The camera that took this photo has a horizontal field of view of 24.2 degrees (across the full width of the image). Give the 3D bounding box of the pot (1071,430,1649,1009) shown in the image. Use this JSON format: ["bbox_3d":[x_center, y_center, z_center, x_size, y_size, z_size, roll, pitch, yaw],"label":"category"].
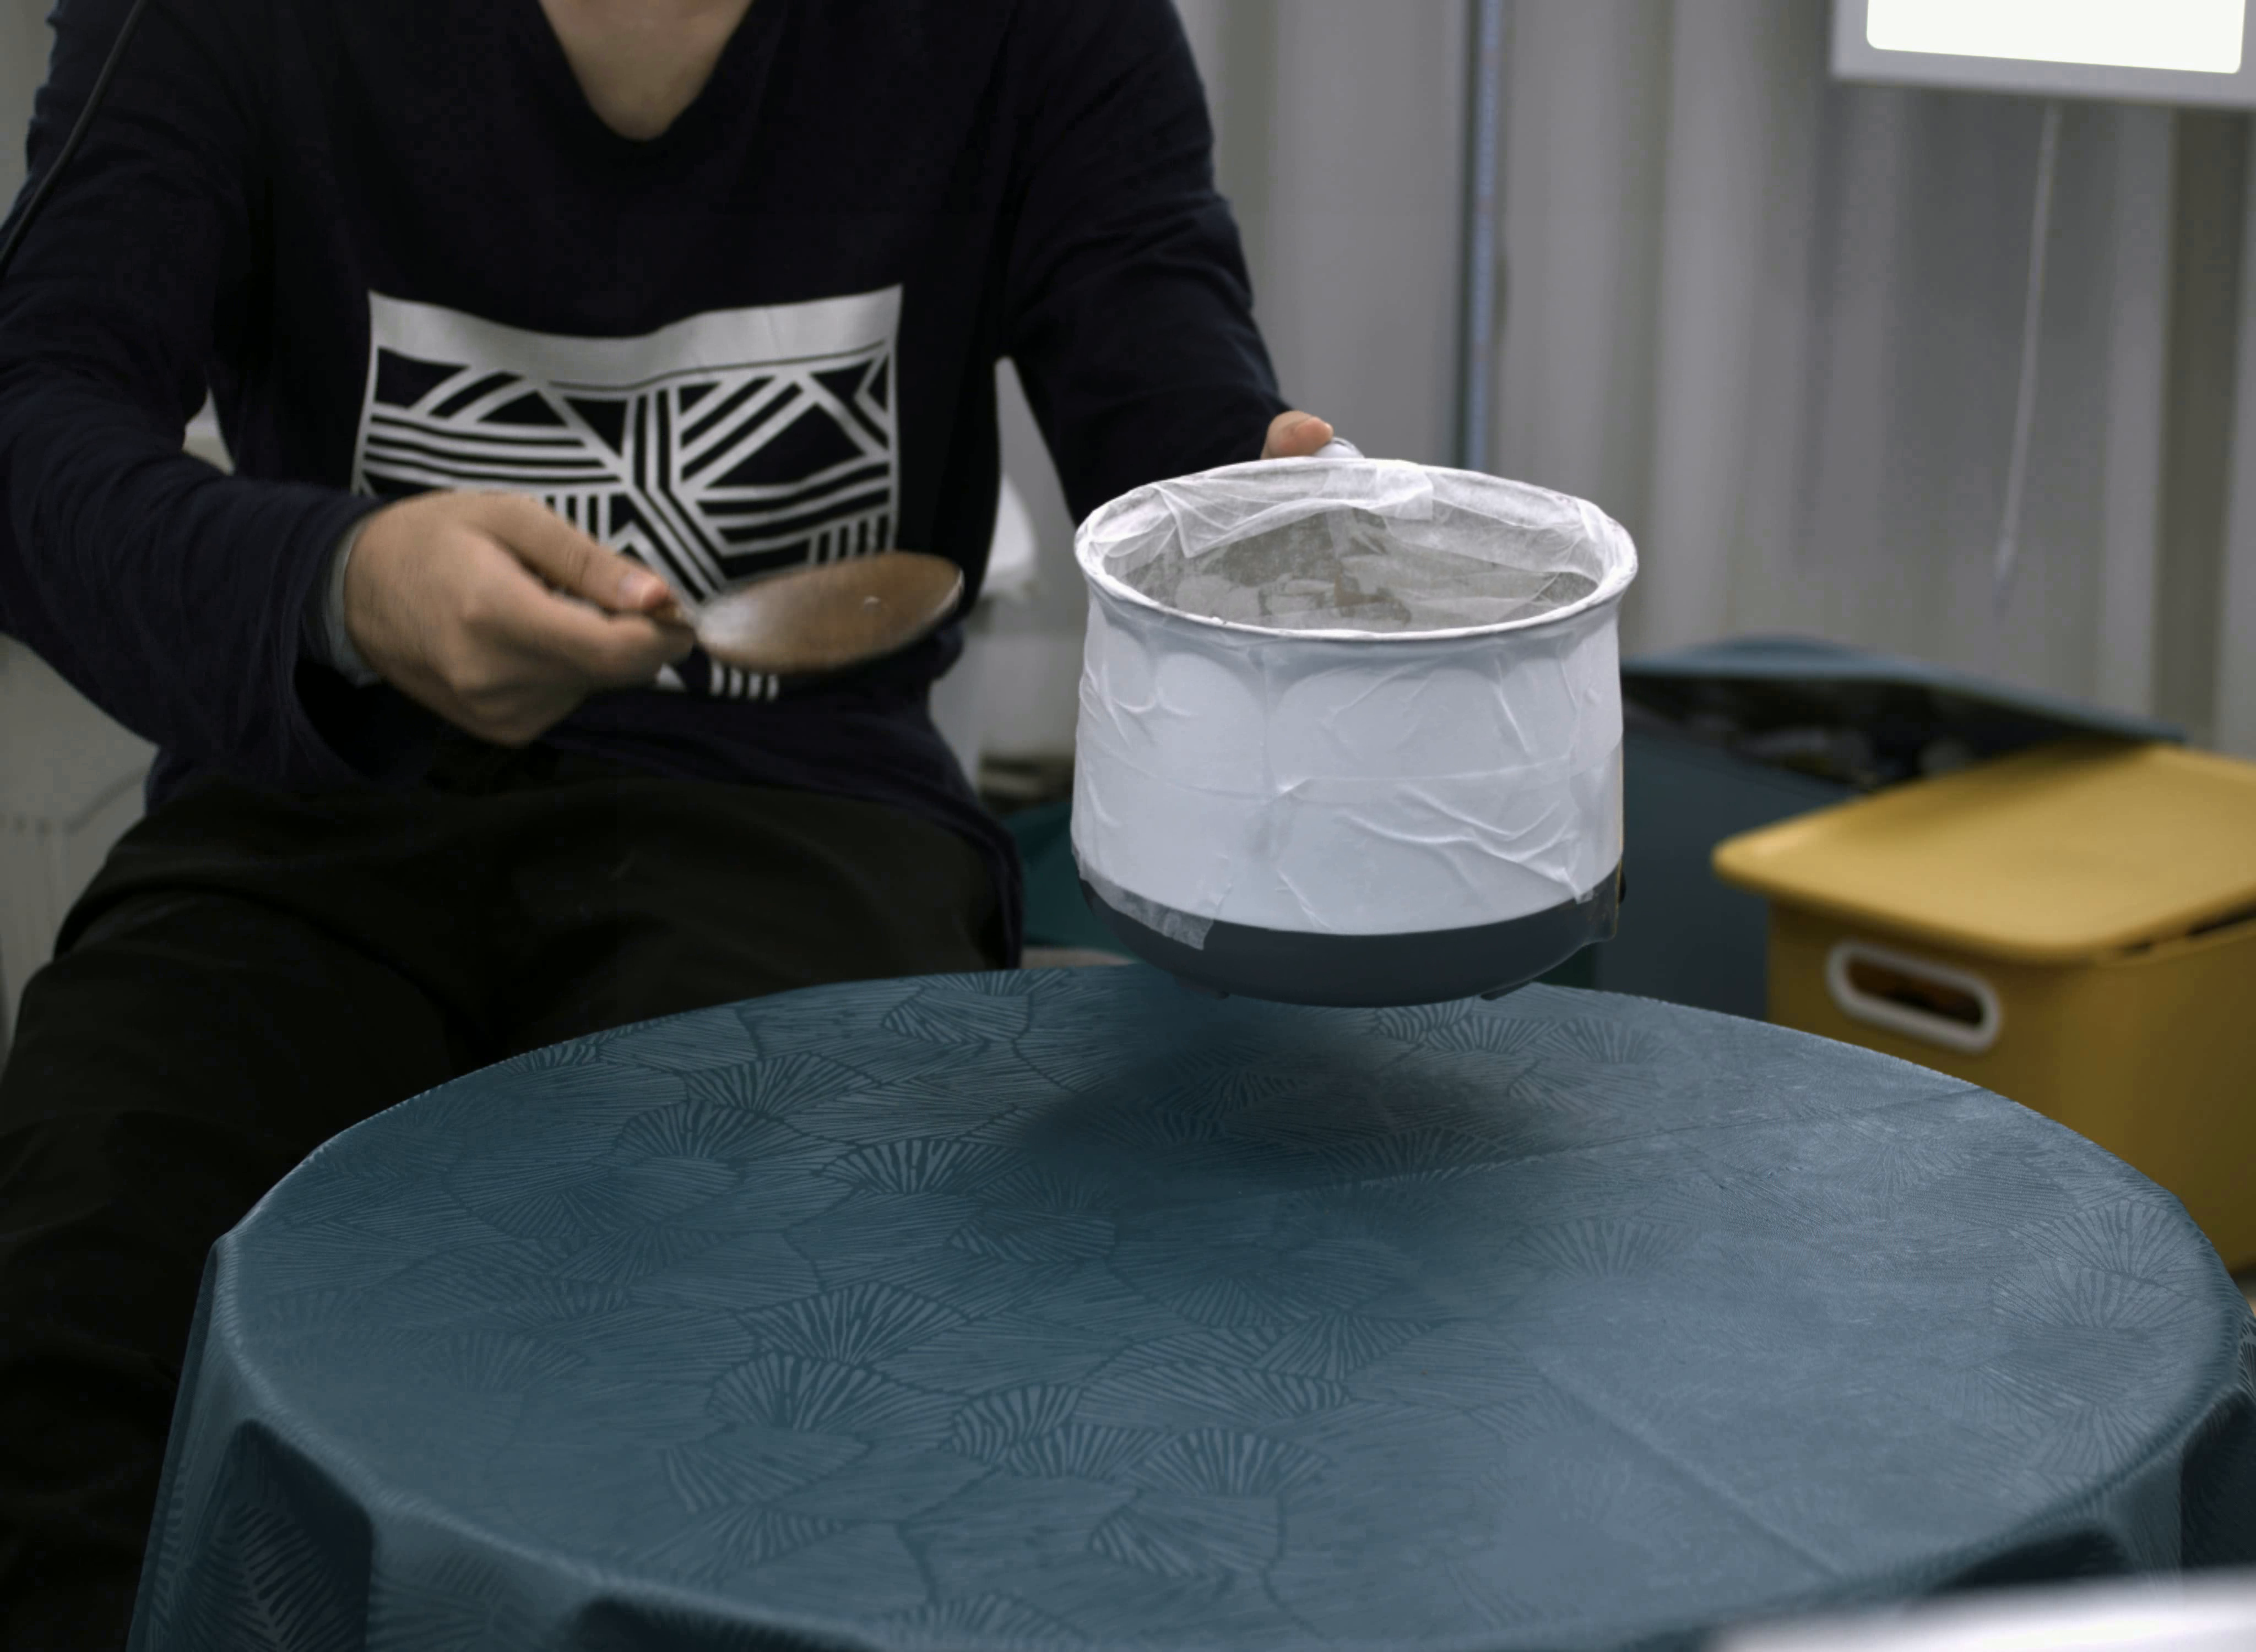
[{"bbox_3d":[0.069,-0.040,1.694,0.178,0.138,0.232,2,22,-5],"label":"pot"}]

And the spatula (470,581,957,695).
[{"bbox_3d":[-0.135,-0.059,1.656,0.213,0.009,0.072,3,31,45],"label":"spatula"}]
